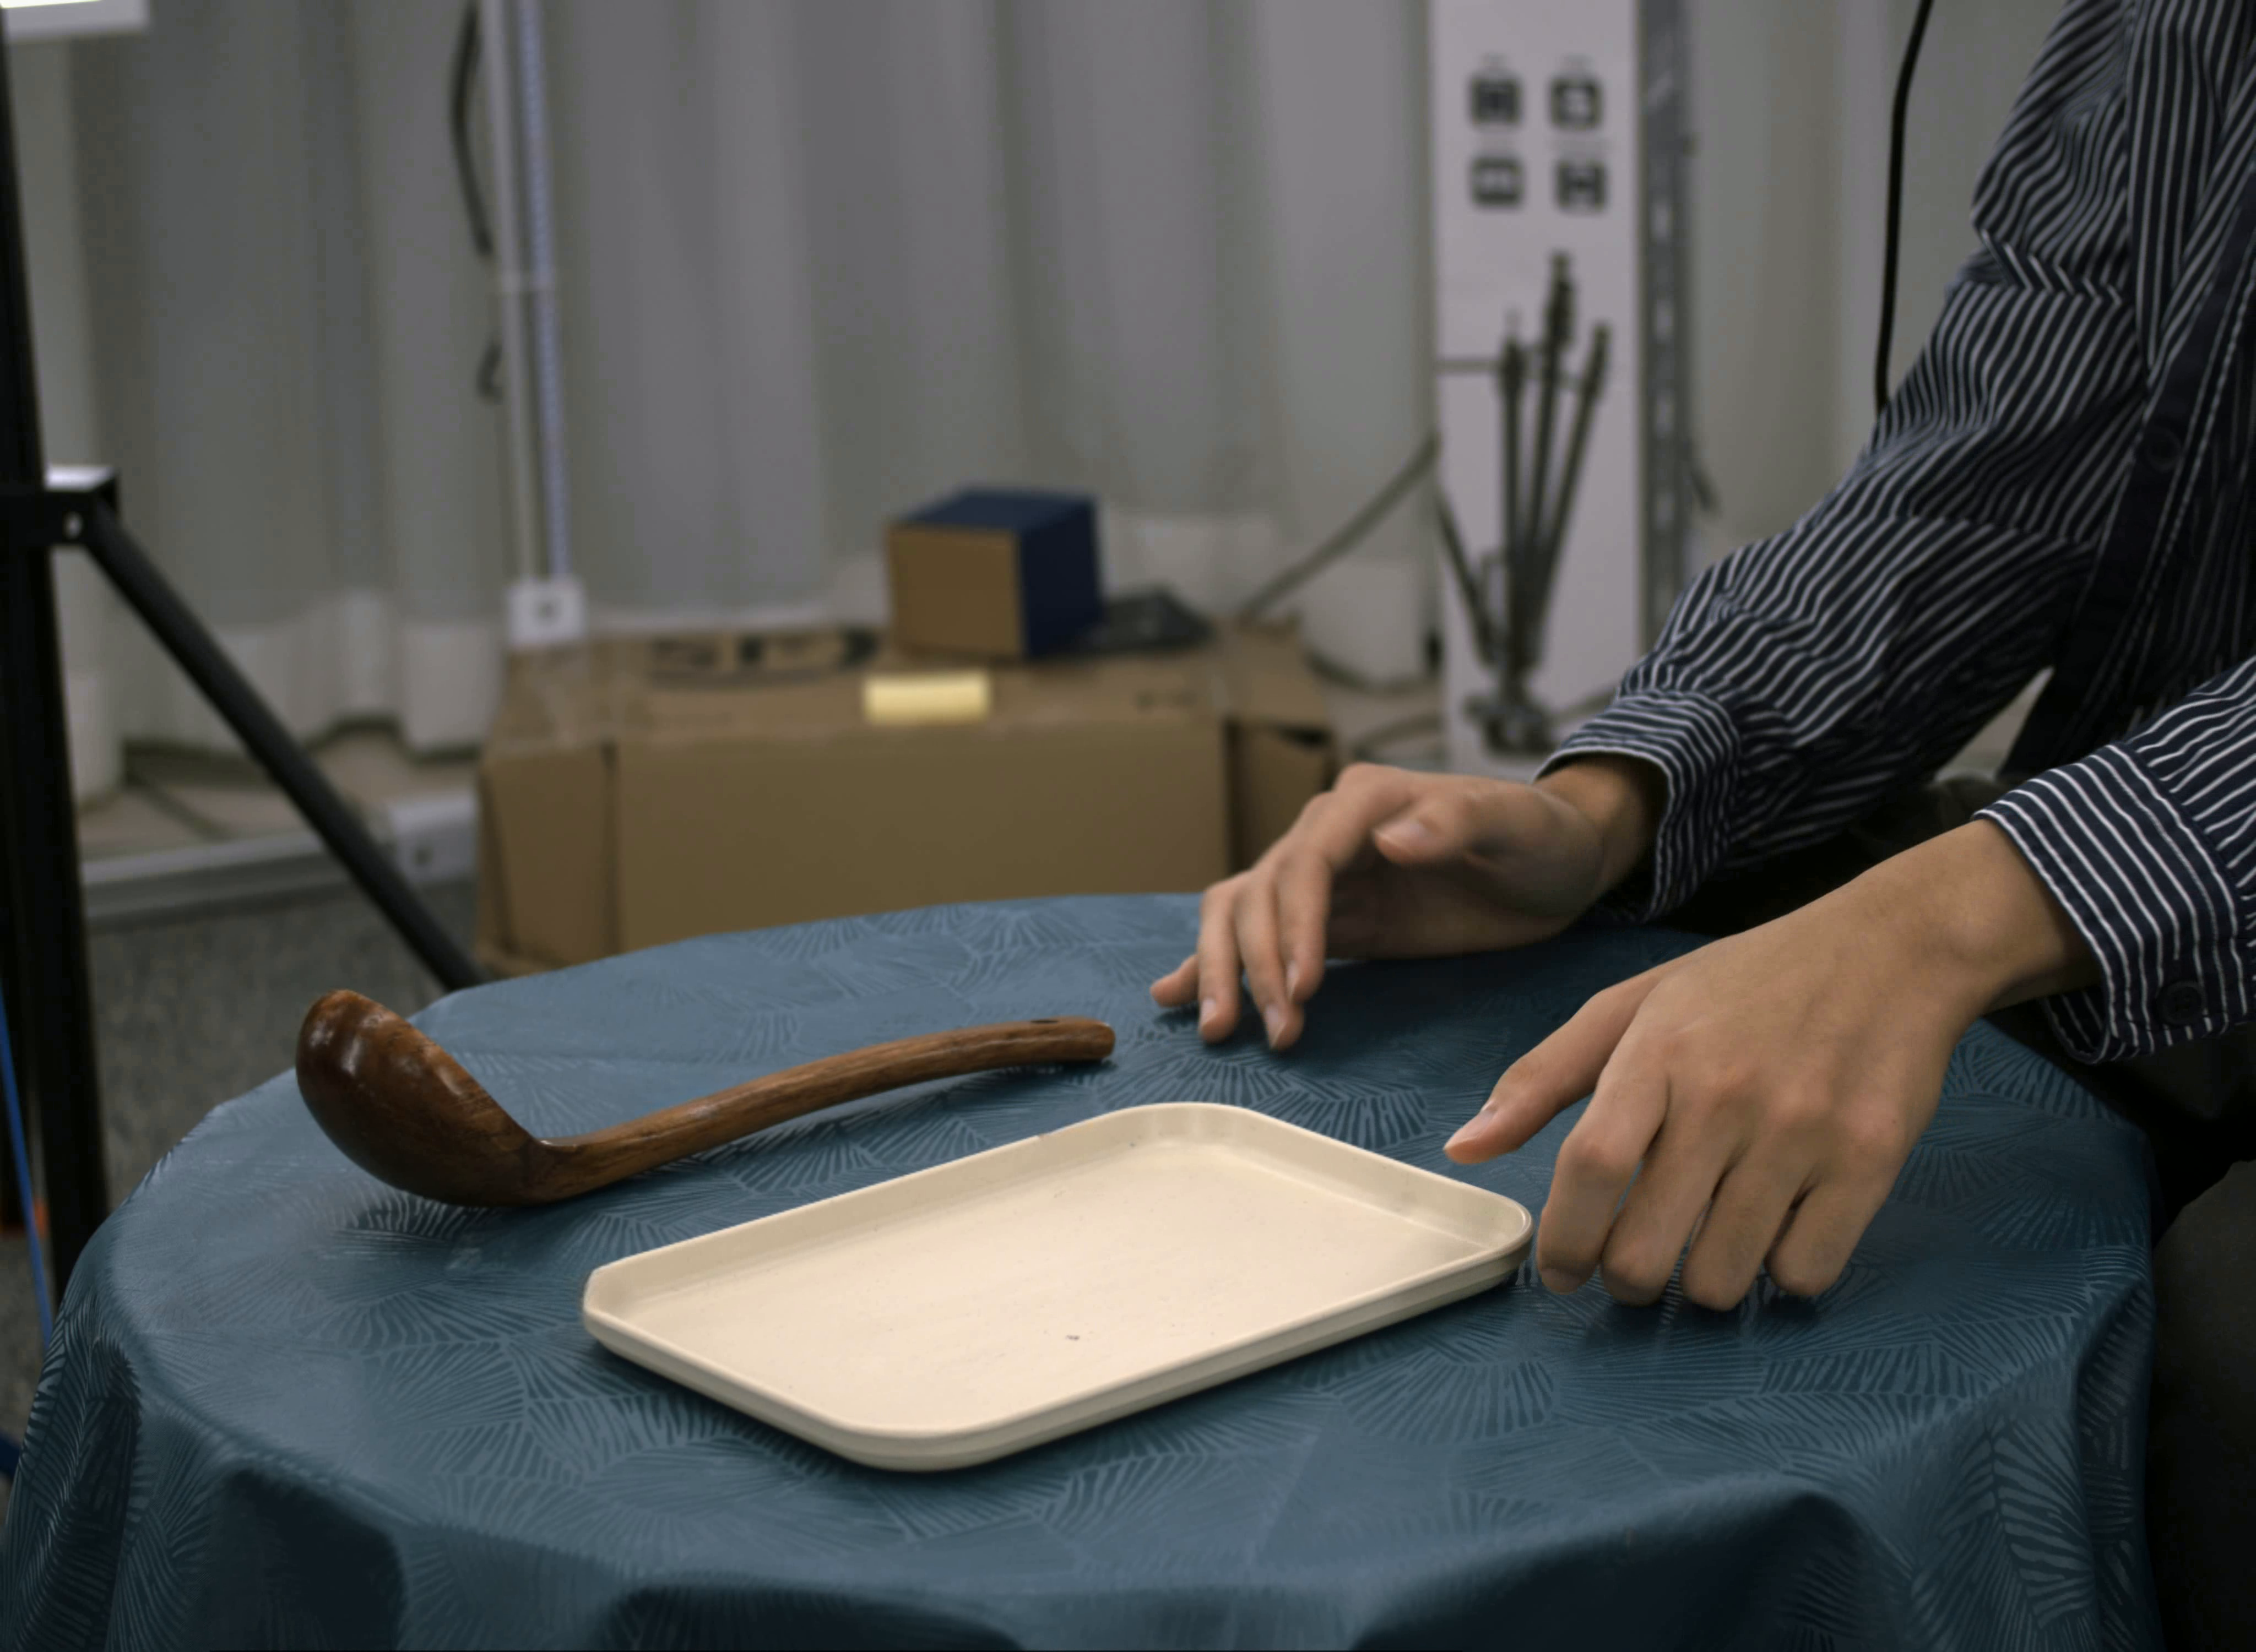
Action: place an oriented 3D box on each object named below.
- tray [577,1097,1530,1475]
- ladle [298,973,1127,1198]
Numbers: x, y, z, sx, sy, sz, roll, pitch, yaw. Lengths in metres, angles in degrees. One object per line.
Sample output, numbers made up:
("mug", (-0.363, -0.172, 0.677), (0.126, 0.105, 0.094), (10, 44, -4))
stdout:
("tray", (-0.019, 0.126, 1.471), (0.234, 0.017, 0.175), (-14, 20, -36))
("ladle", (-0.122, 0.058, 1.614), (0.268, 0.076, 0.083), (-12, 14, -30))
